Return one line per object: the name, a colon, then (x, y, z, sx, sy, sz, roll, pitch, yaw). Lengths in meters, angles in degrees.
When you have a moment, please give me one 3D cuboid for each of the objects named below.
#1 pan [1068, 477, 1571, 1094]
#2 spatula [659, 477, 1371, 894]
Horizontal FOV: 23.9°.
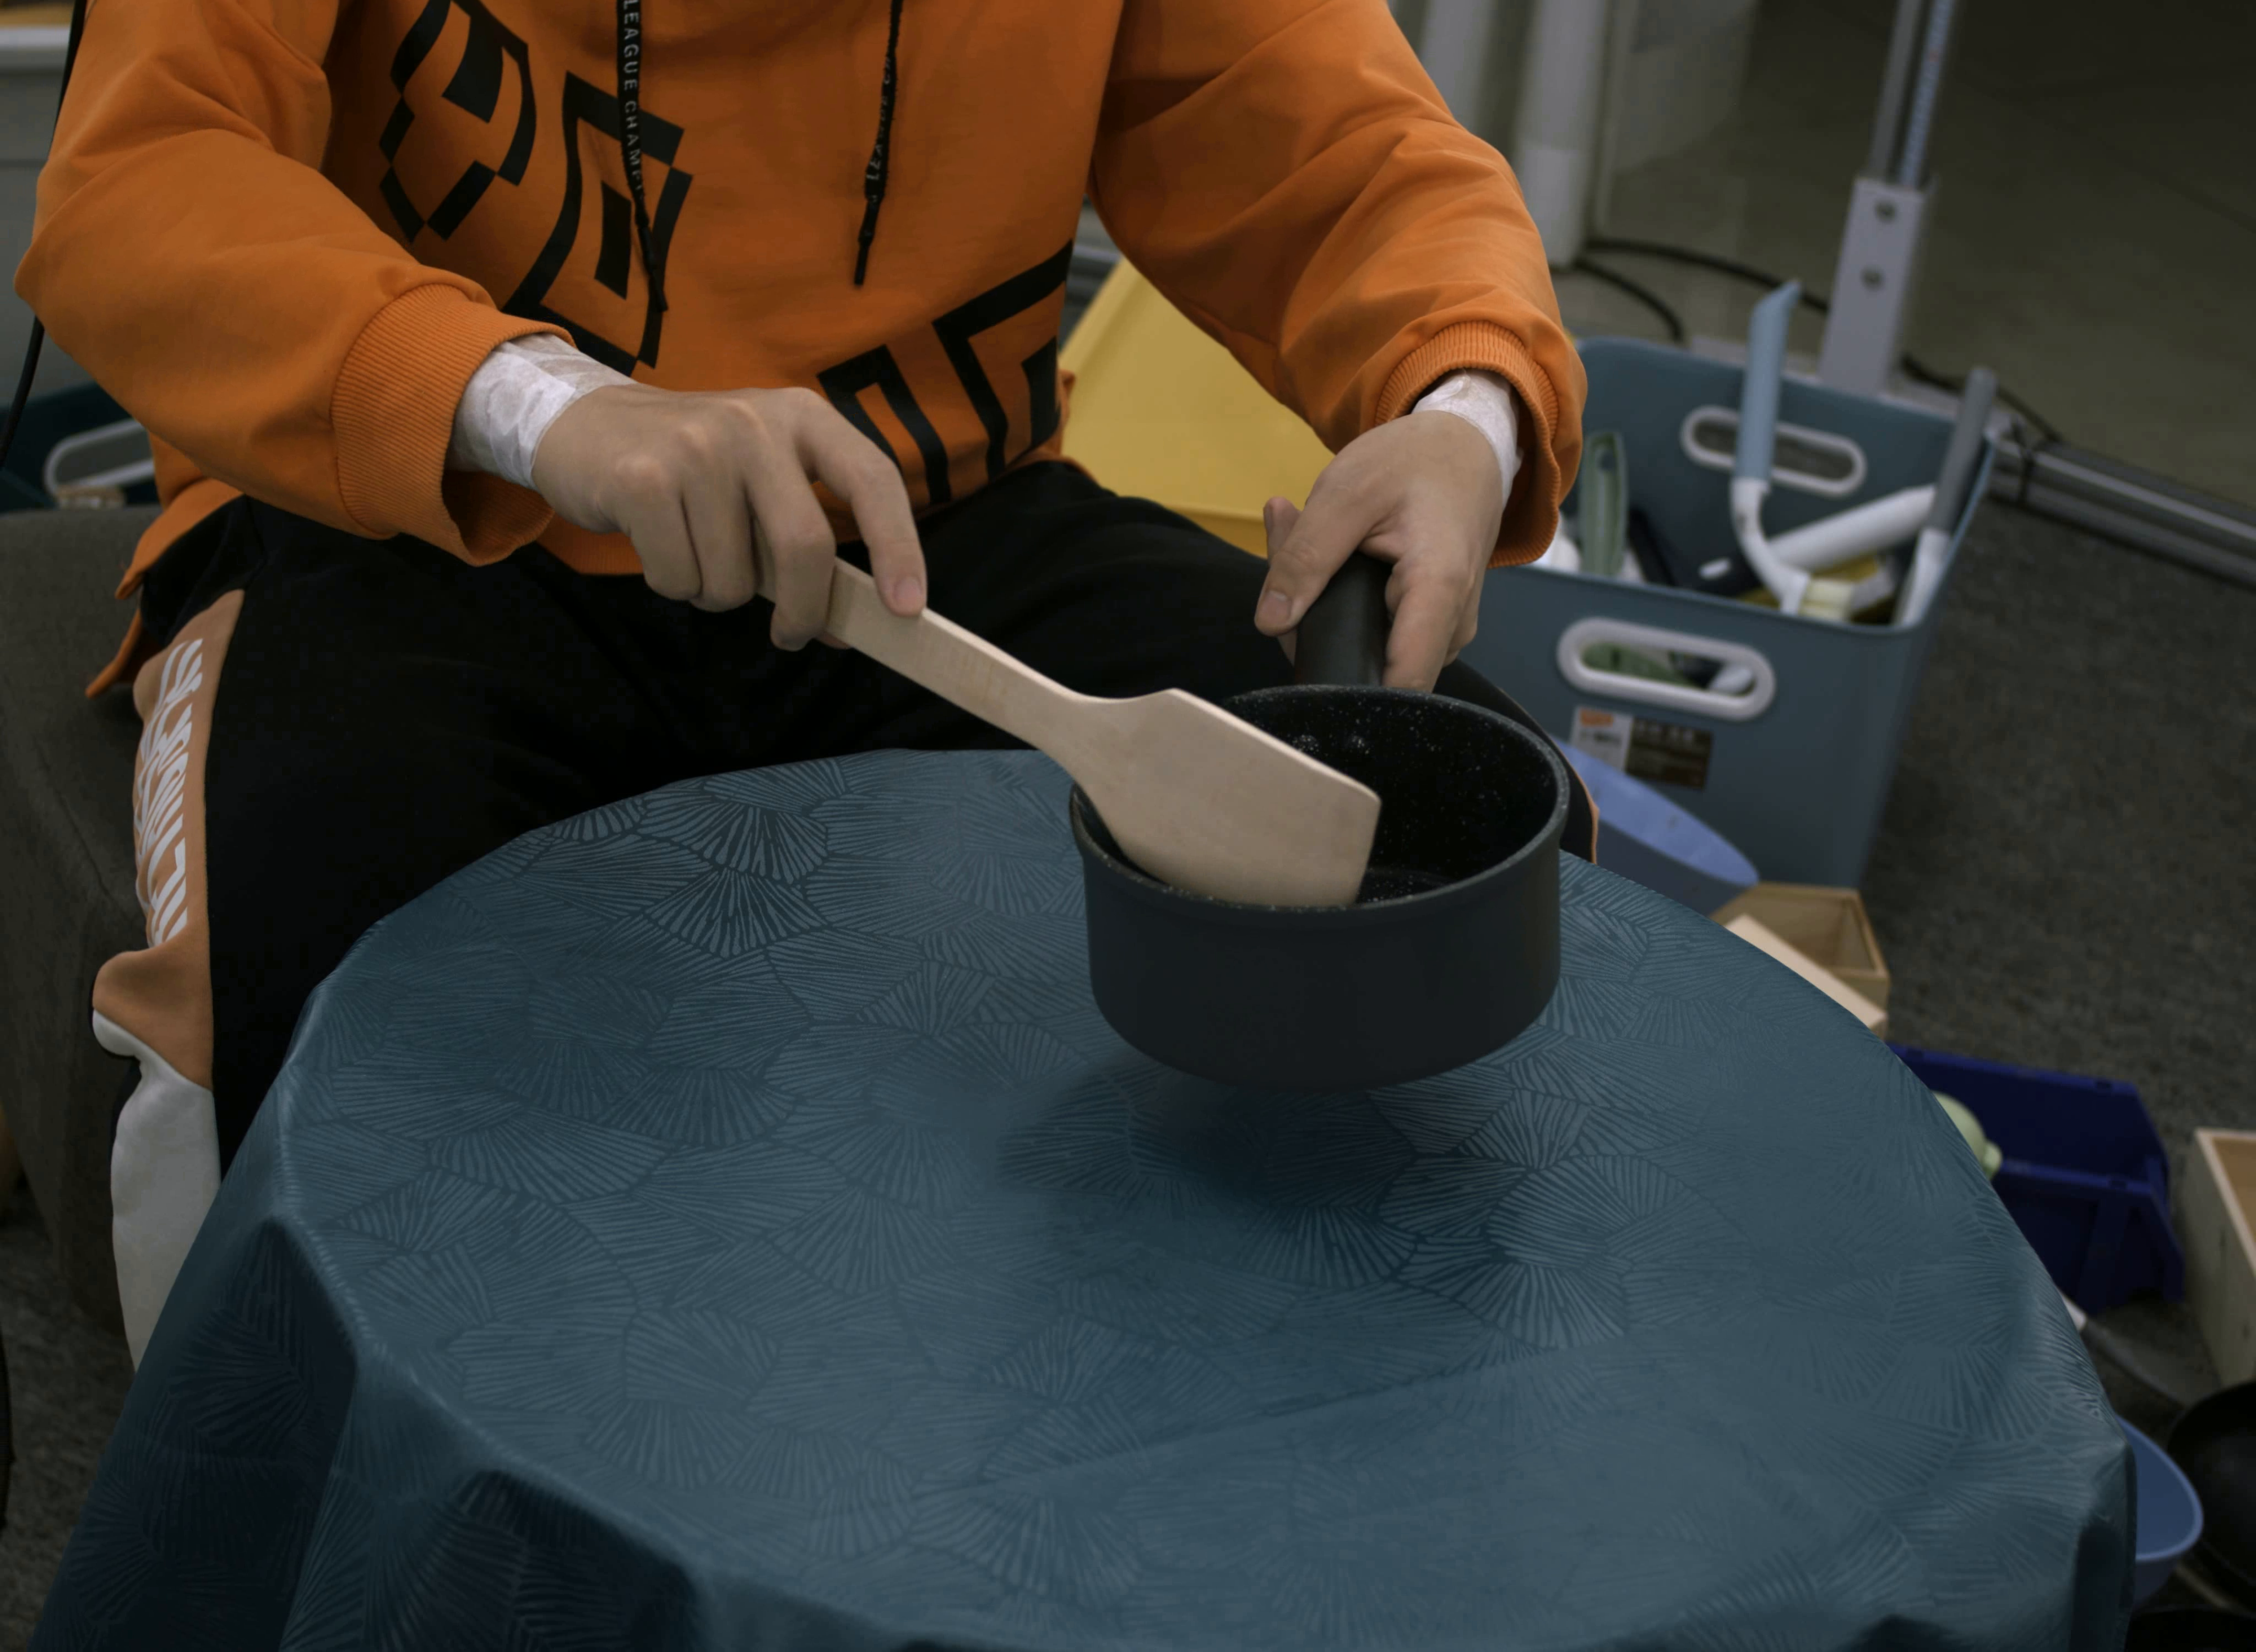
pan: (0.076, -0.018, 1.895, 0.172, 0.086, 0.330, 2, 29, 8)
spatula: (-0.045, -0.050, 1.810, 0.294, 0.072, 0.010, 29, 36, 23)
